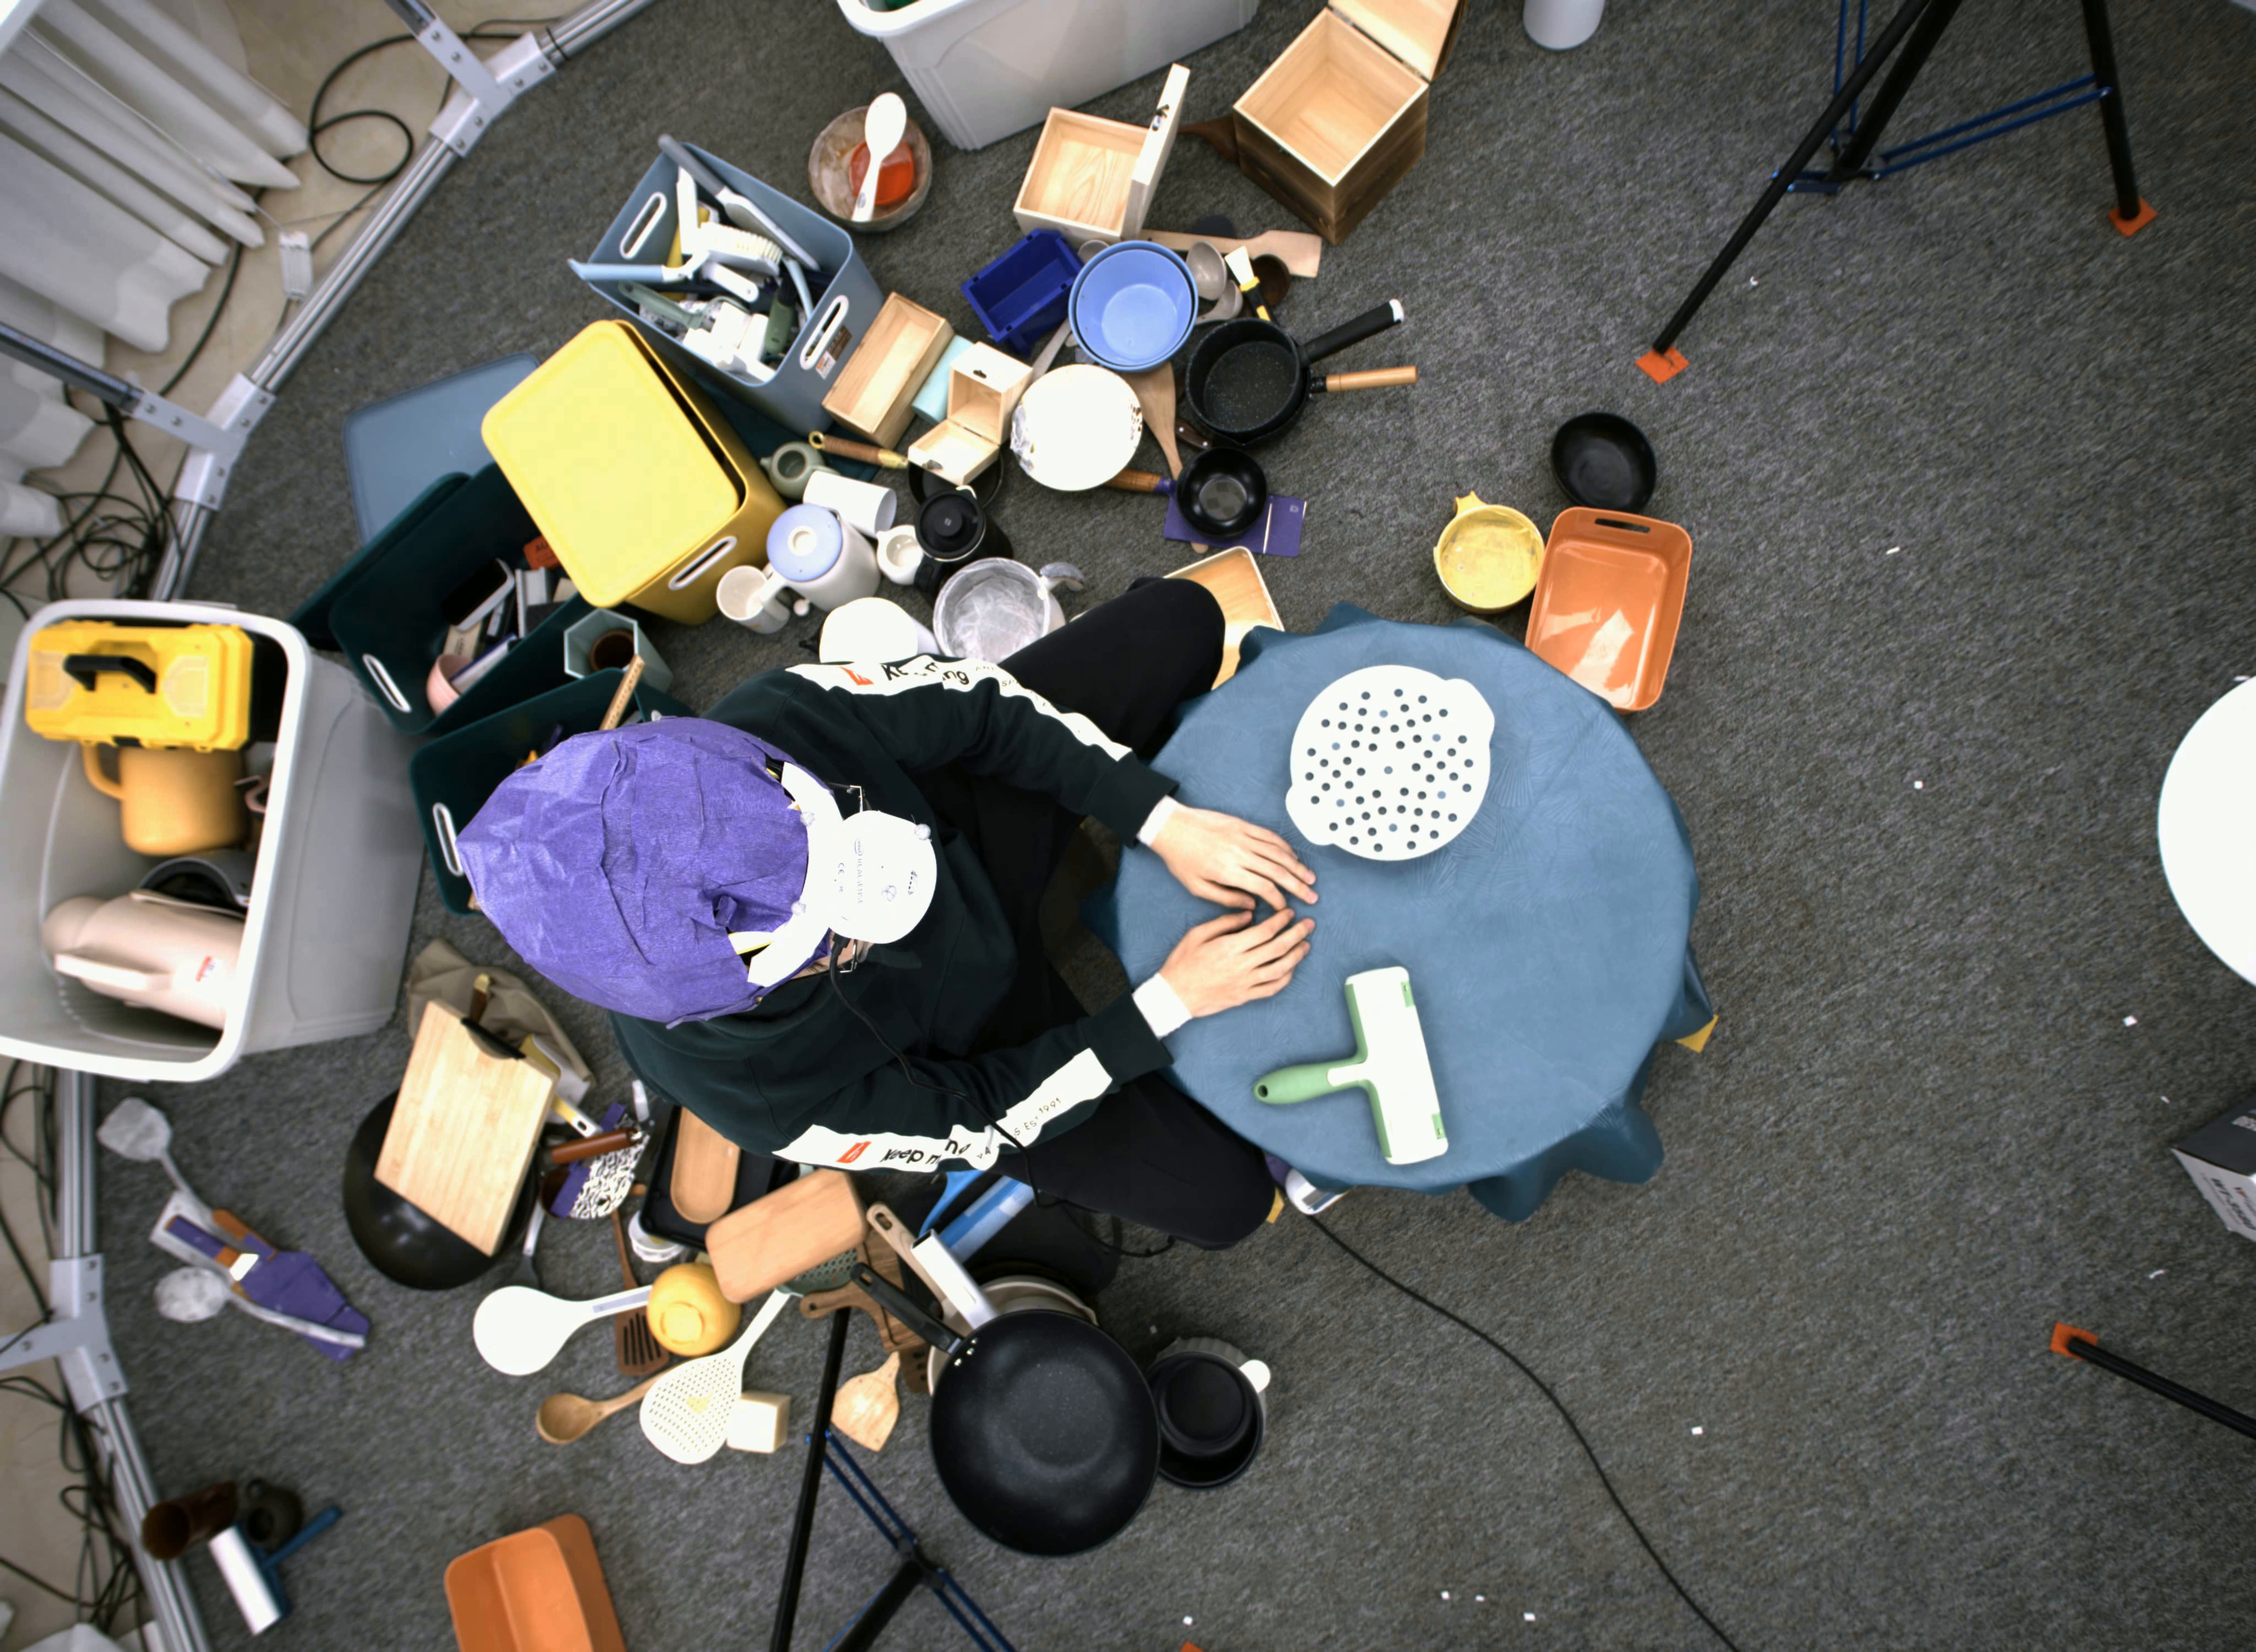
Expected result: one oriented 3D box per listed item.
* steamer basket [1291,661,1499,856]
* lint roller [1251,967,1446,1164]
[{"bbox_3d":[0.275,-0.068,1.427,0.231,0.069,0.201,-35,82,5],"label":"steamer basket"},{"bbox_3d":[0.215,0.255,1.417,0.184,0.082,0.197,-12,85,5],"label":"lint roller"}]
